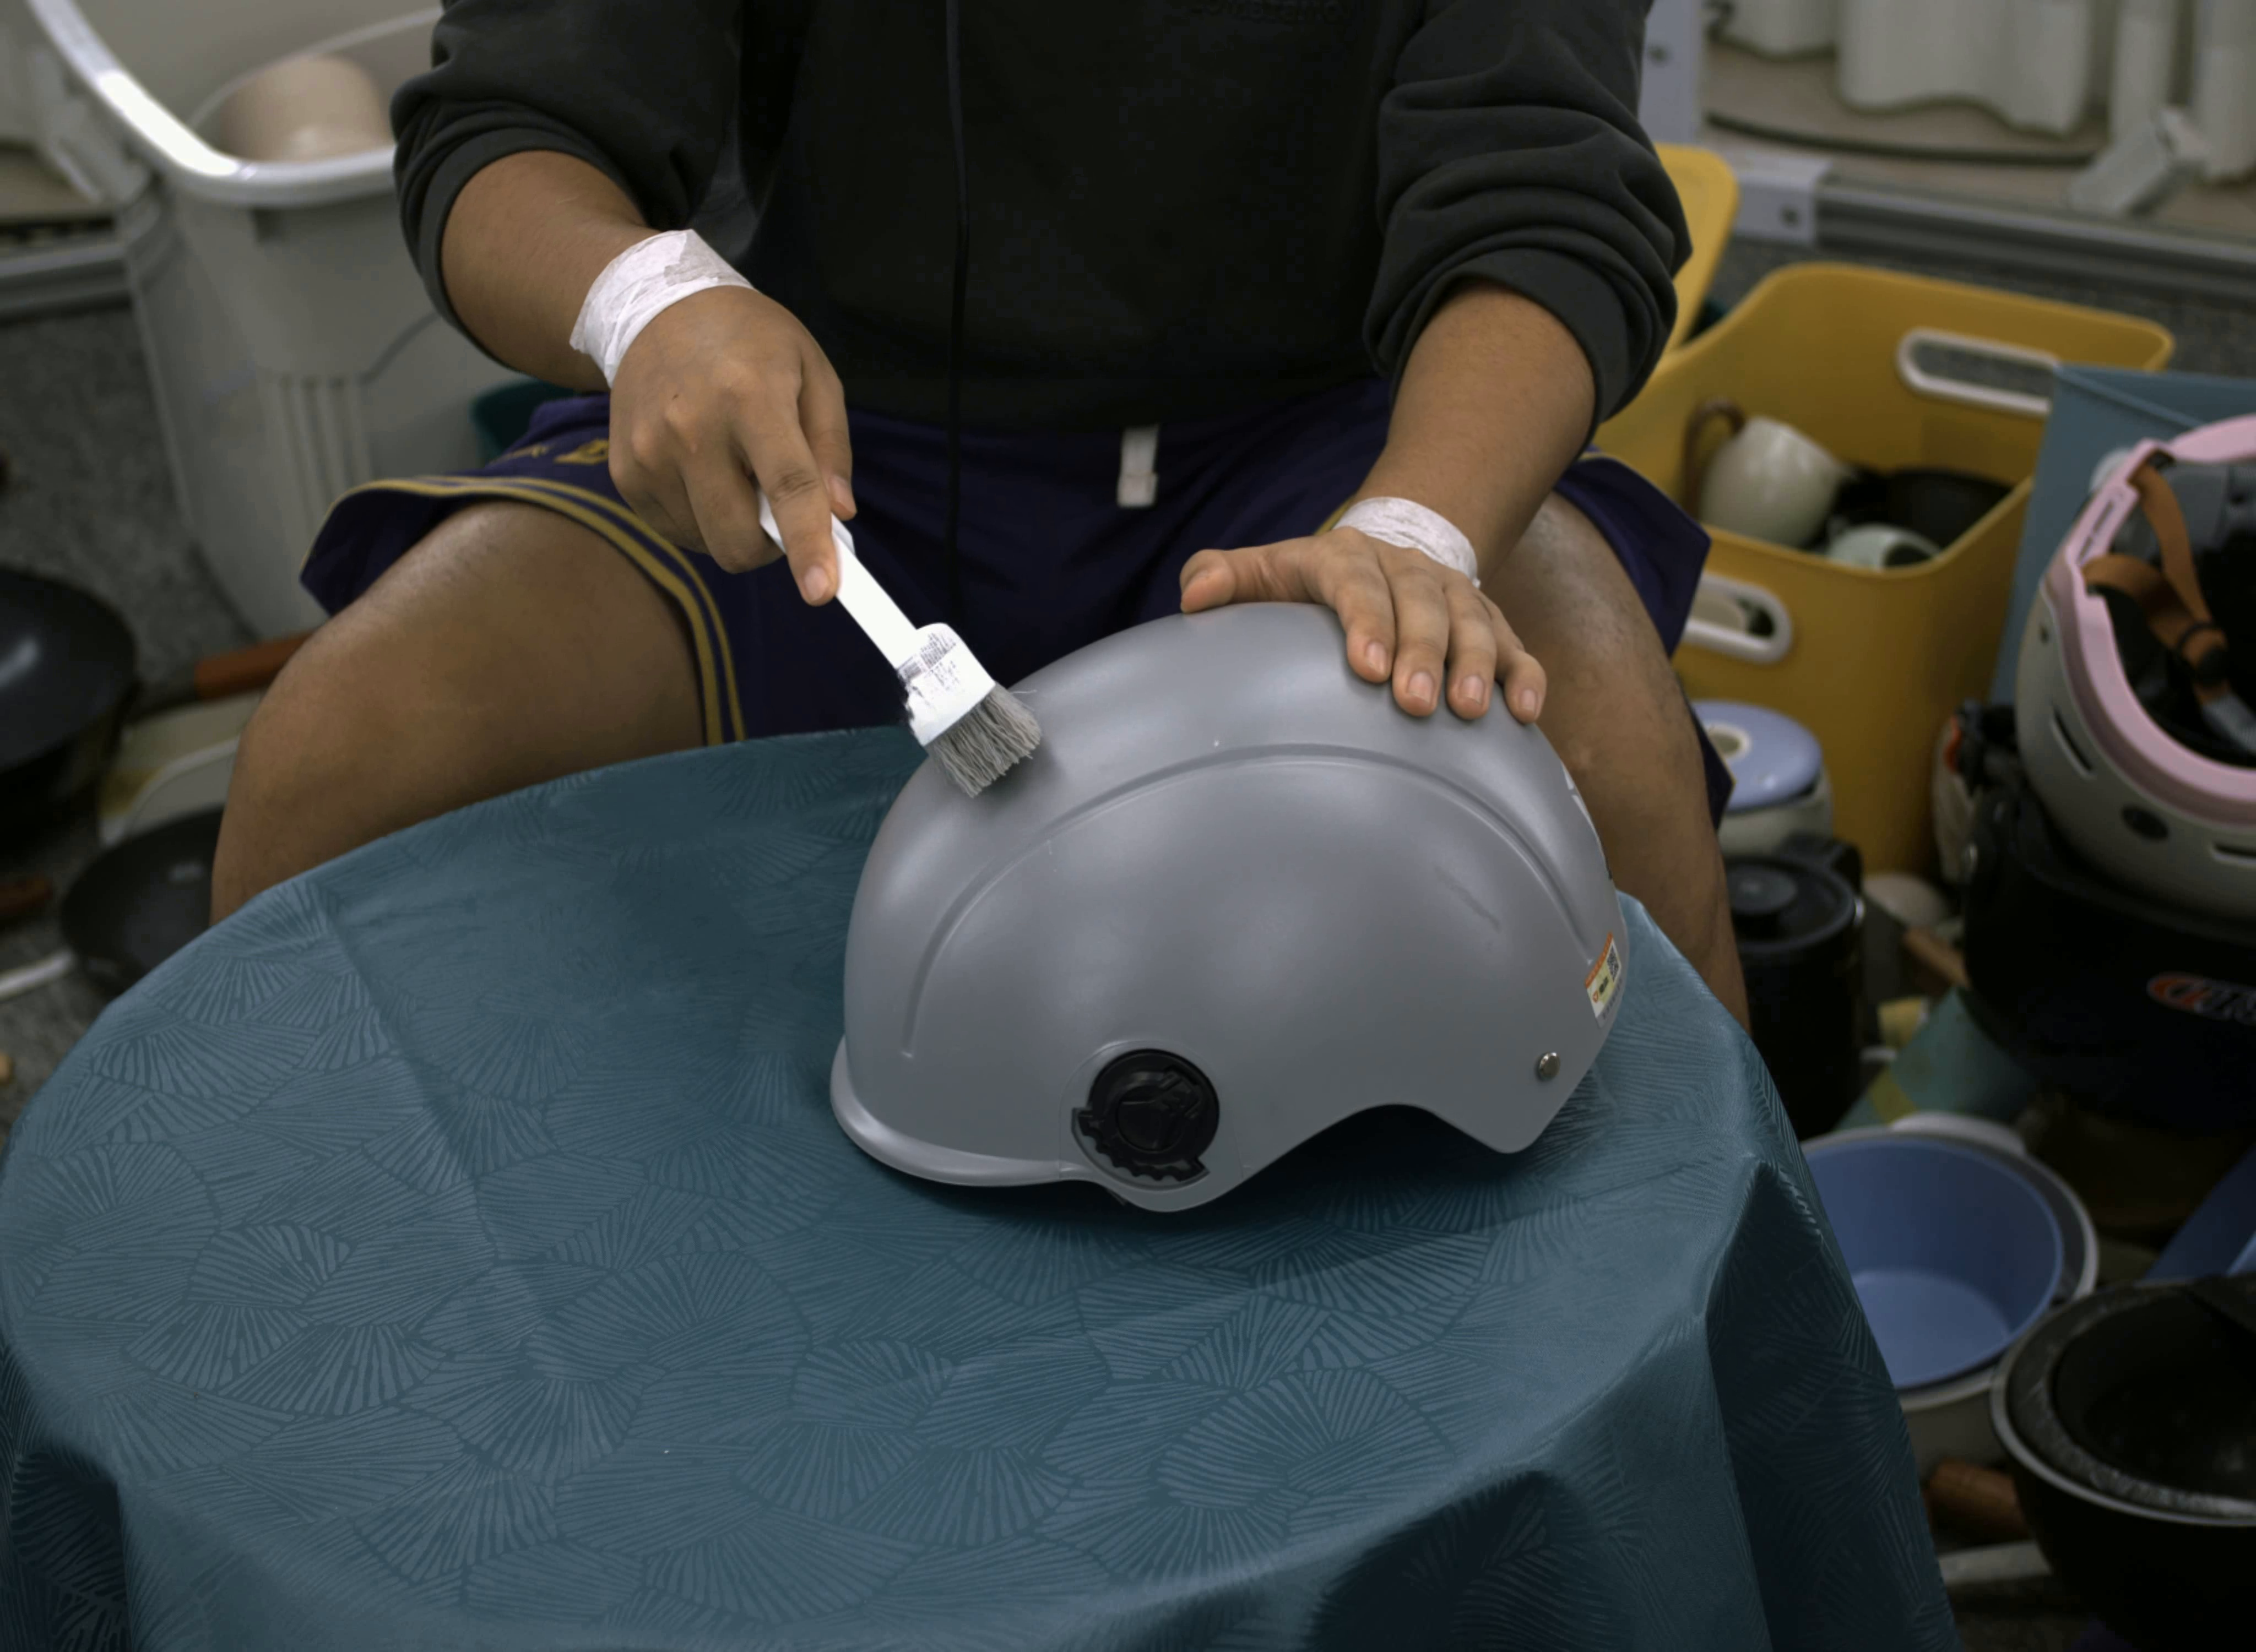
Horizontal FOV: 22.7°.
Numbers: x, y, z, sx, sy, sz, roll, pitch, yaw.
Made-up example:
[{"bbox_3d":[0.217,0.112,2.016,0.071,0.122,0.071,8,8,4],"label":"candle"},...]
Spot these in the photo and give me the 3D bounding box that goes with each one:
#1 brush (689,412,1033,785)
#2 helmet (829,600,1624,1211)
[{"bbox_3d":[-0.092,-0.079,1.927,0.034,0.050,0.245,-40,35,-2],"label":"brush"},{"bbox_3d":[0.028,0.012,1.901,0.275,0.167,0.235,-6,25,-3],"label":"helmet"}]
